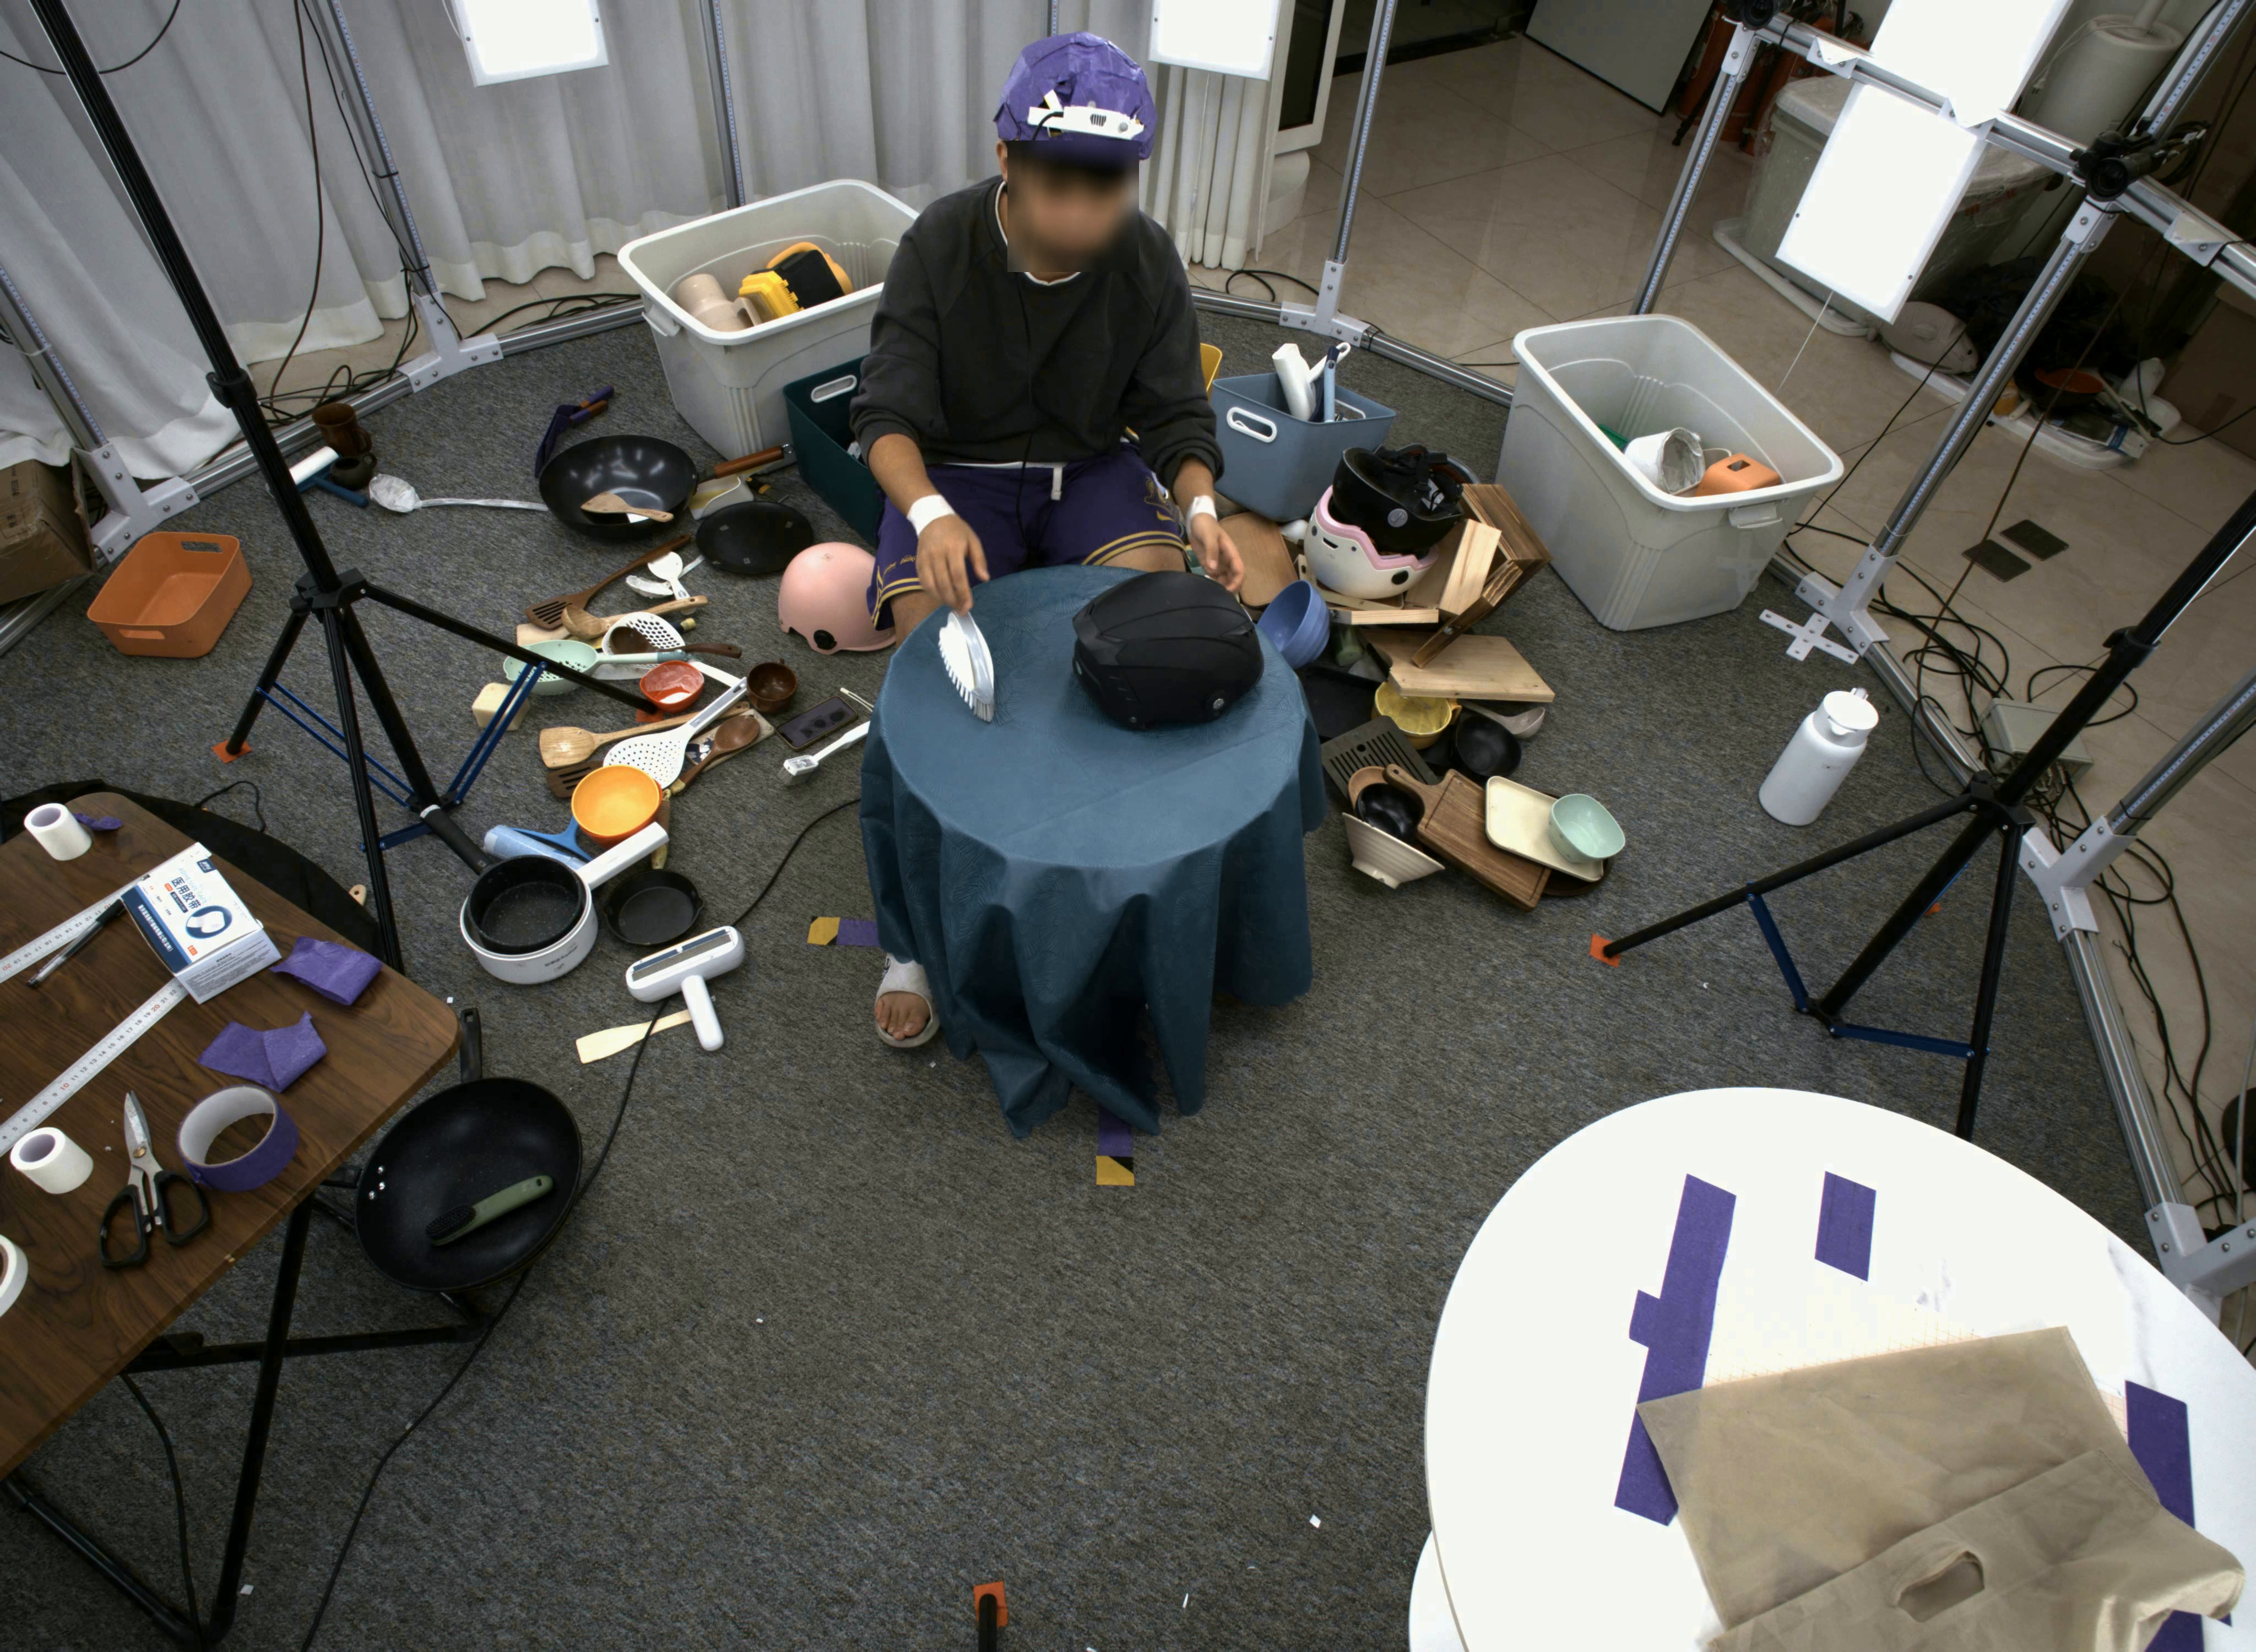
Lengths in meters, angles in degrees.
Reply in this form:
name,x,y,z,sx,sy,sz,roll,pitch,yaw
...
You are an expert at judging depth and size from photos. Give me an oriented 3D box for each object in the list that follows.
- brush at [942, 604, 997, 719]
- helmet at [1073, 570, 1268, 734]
name,x,y,z,sx,sy,sz,roll,pitch,yaw
brush,-0.216,-0.238,1.800,0.061,0.092,0.180,-13,53,-14
helmet,0.058,-0.265,1.798,0.277,0.168,0.252,-15,52,-12
